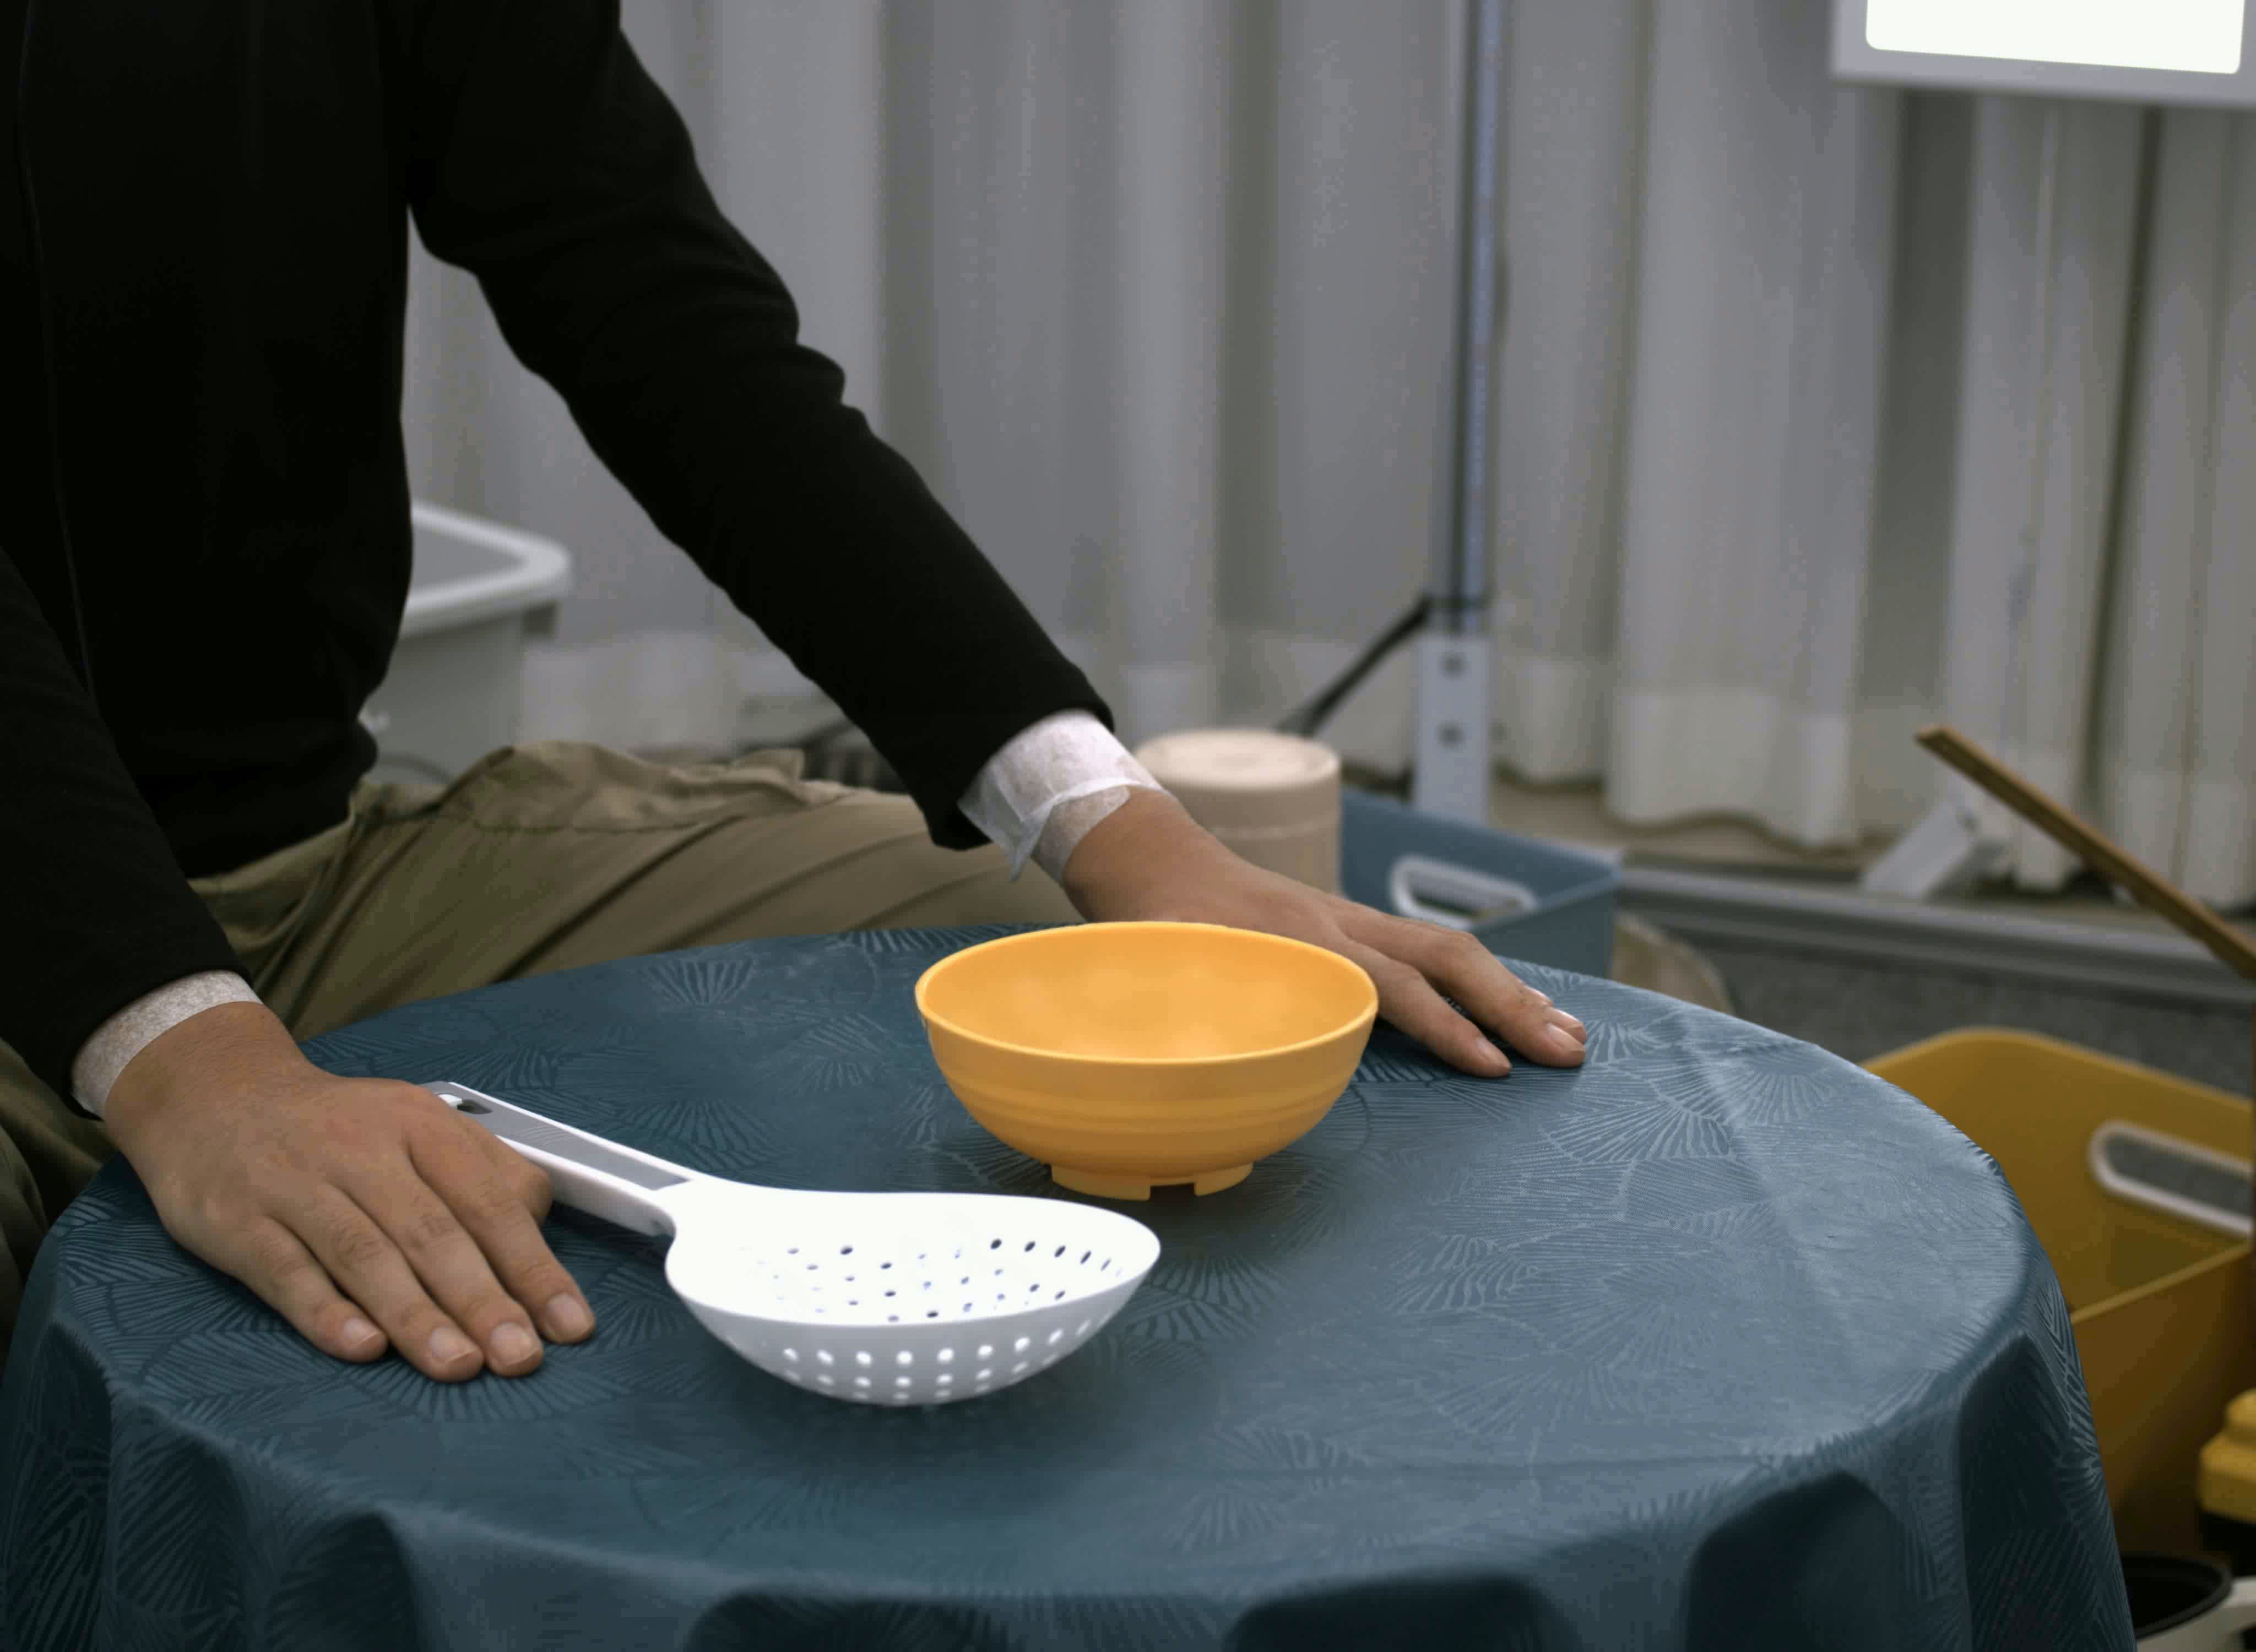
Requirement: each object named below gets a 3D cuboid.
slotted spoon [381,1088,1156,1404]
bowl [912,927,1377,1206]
[{"bbox_3d":[-0.124,0.112,1.532,0.137,0.046,0.345,-10,18,-36],"label":"slotted spoon"},{"bbox_3d":[0.004,0.079,1.635,0.145,0.060,0.144,2,15,0],"label":"bowl"}]
